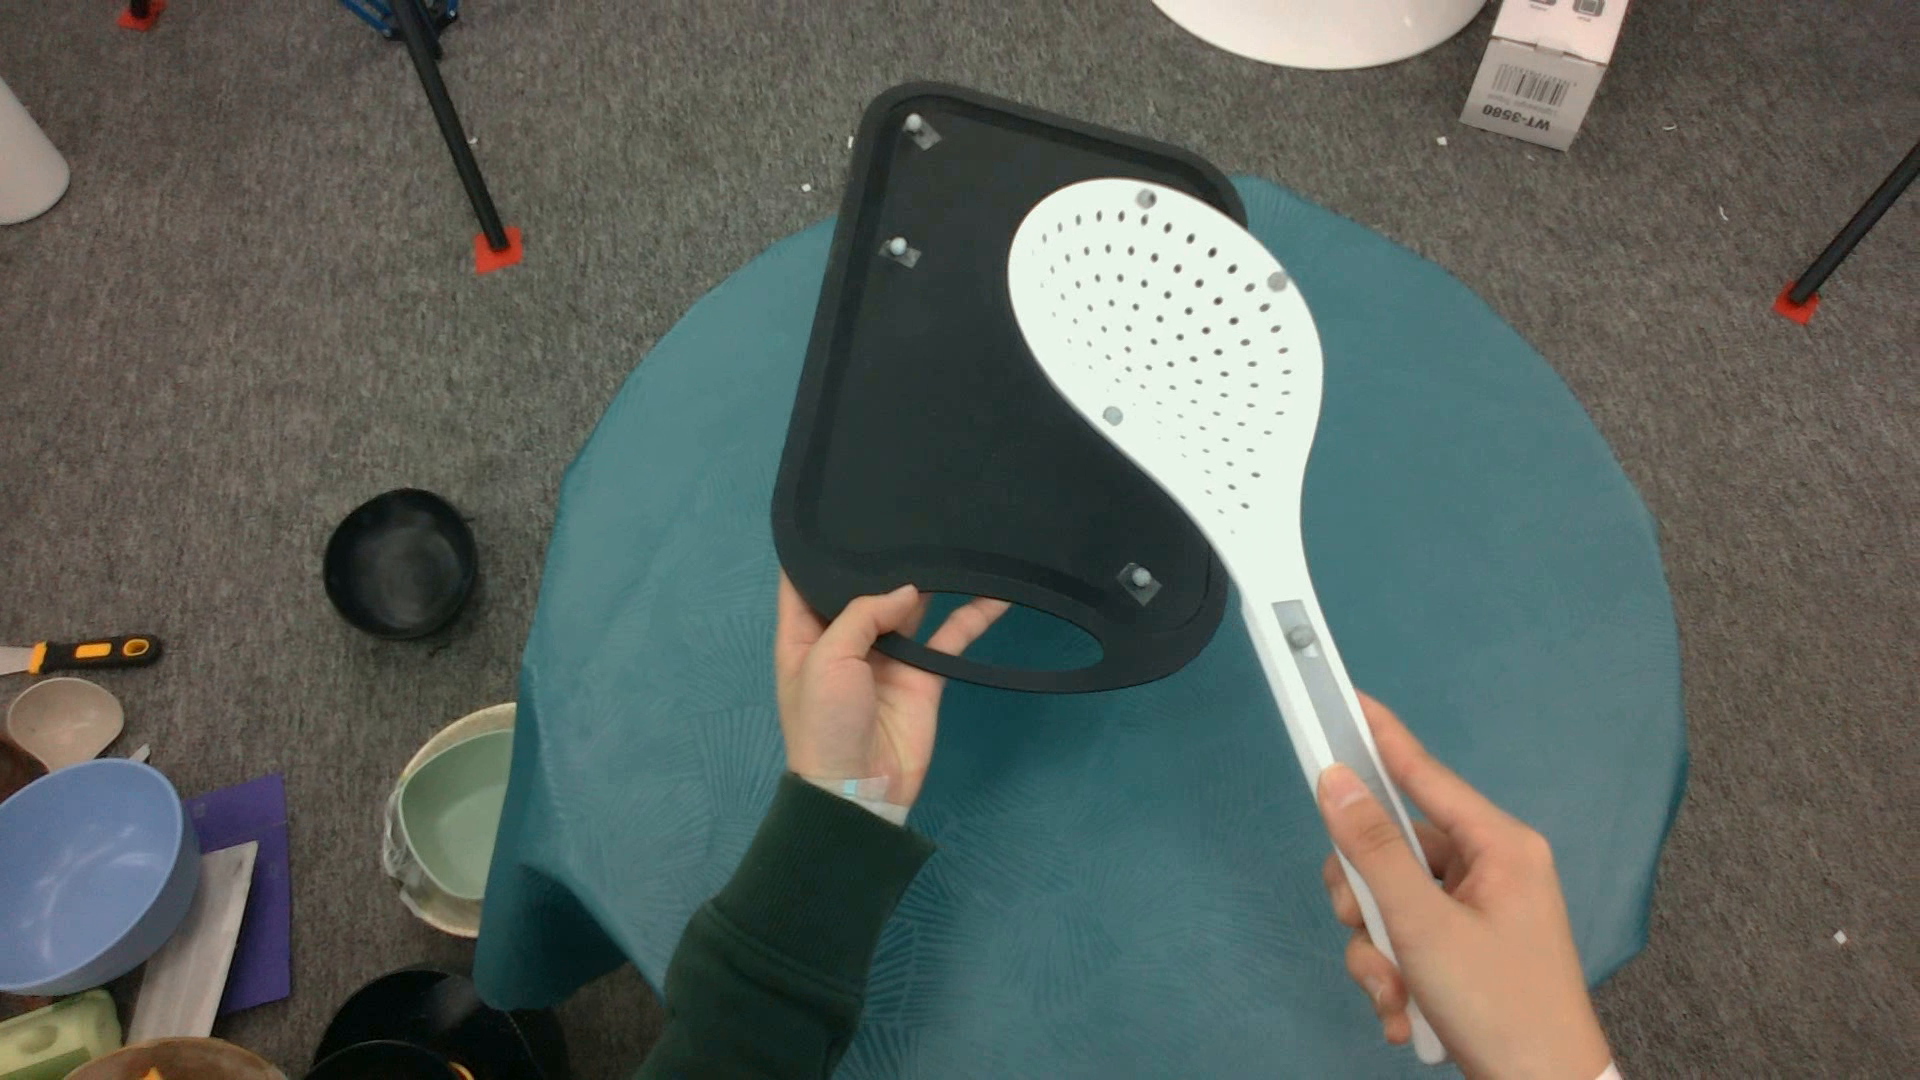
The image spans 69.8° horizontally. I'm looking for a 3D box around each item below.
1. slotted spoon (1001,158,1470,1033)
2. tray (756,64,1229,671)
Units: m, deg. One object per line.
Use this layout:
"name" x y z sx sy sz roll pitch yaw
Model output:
"slotted spoon" 0.107 0.002 0.510 0.136 0.045 0.350 -6 61 -25
"tray" 0.027 -0.092 0.653 0.211 0.010 0.327 12 62 -8
